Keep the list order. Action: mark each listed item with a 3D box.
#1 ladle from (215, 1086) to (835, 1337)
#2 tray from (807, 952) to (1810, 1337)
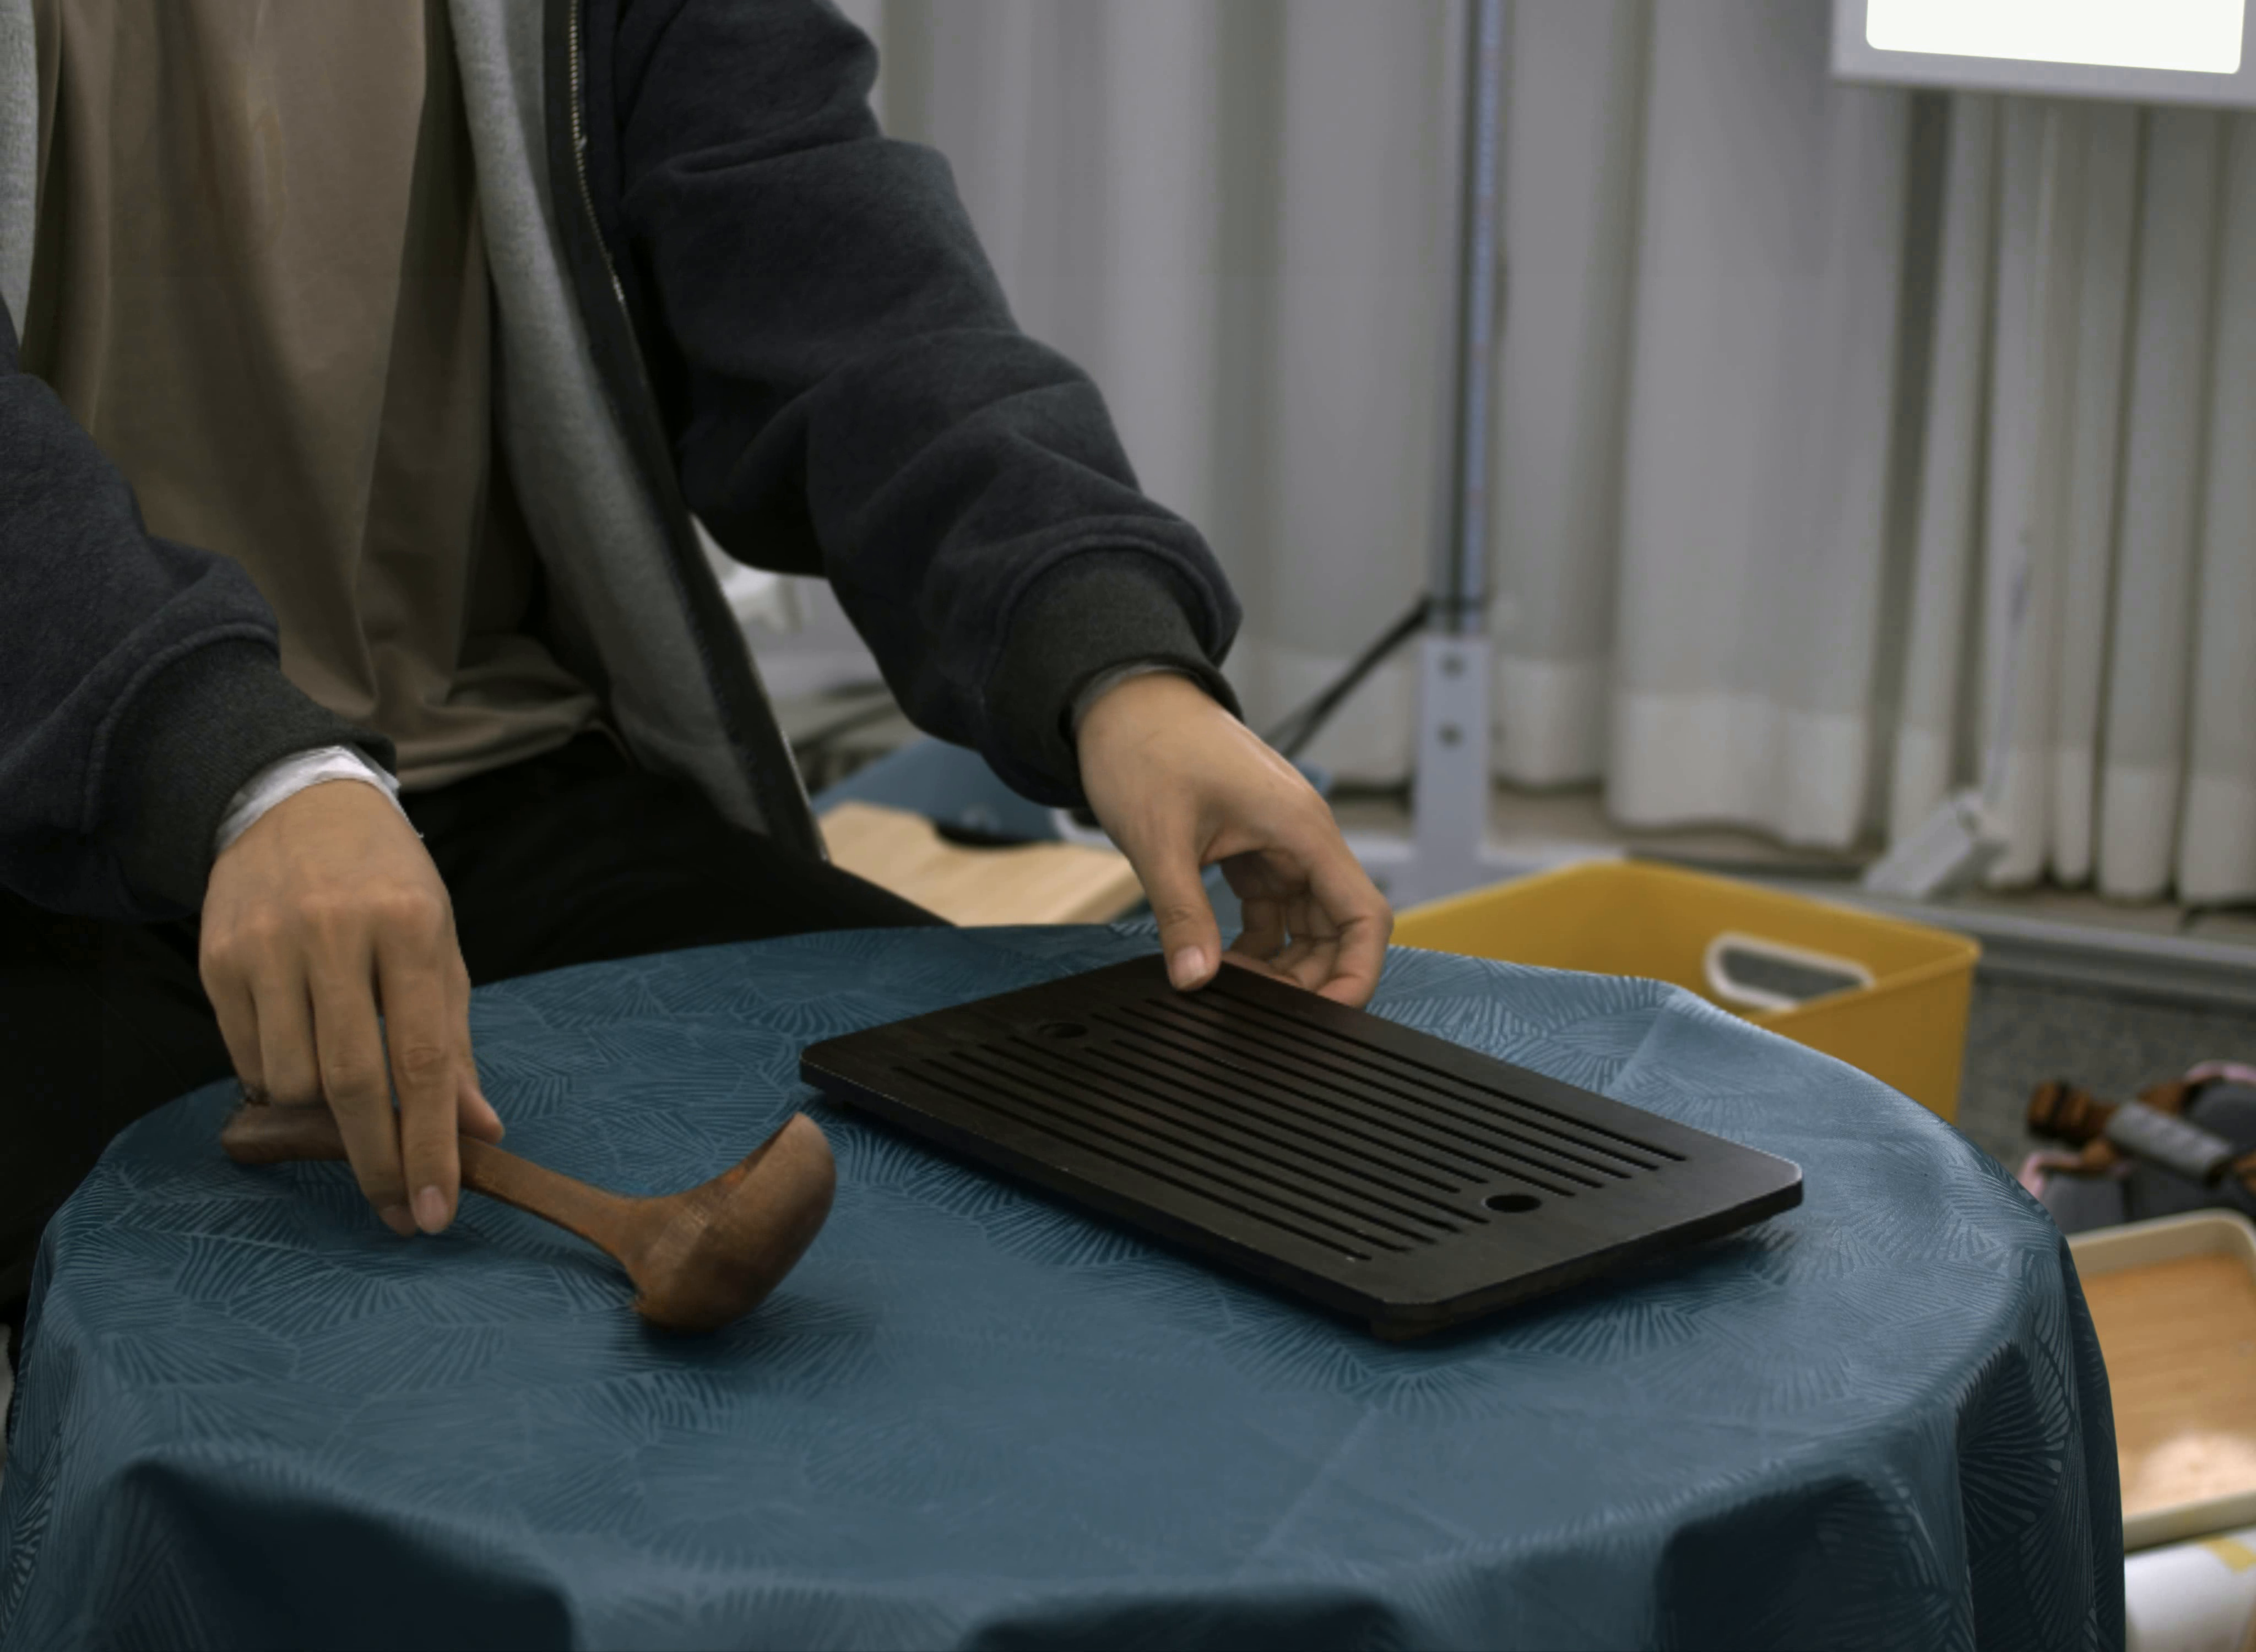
[{"bbox_3d":[-0.189,0.097,1.556,0.257,0.066,0.076,13,47,37],"label":"ladle"},{"bbox_3d":[0.051,0.096,1.647,0.171,0.019,0.302,-13,20,-37],"label":"tray"}]
